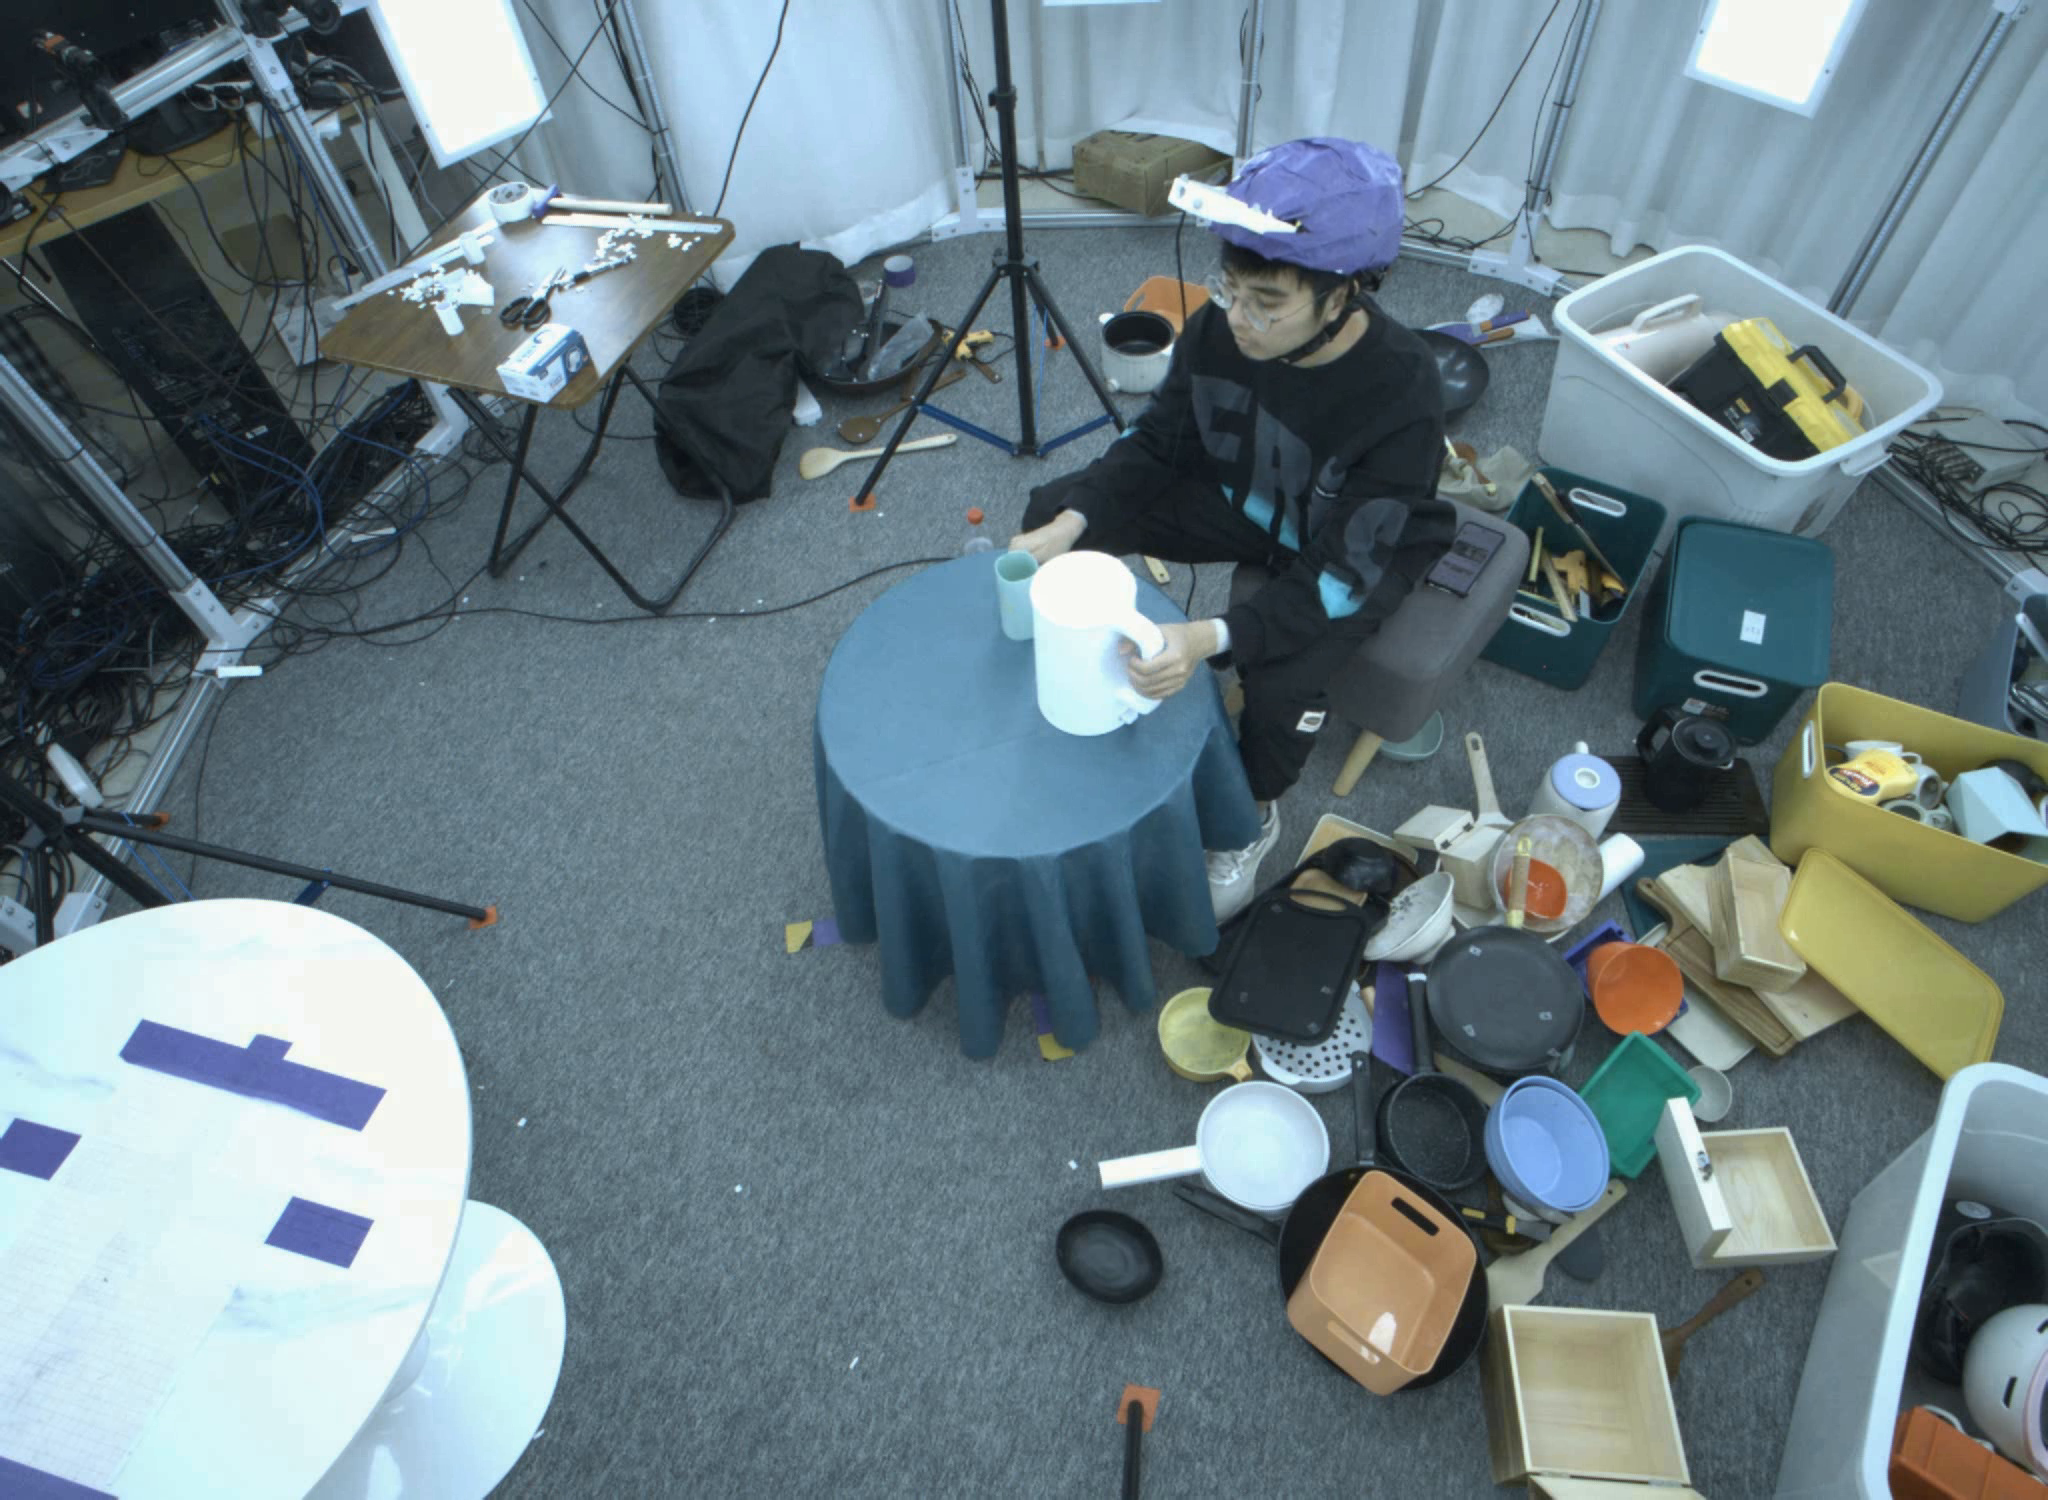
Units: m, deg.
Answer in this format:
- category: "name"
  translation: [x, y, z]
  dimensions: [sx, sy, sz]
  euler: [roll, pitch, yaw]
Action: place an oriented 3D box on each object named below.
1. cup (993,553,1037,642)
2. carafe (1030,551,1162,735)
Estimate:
- category: "cup"
  translation: [-0.008, -0.232, 1.871]
  dimensions: [0.066, 0.134, 0.066]
  euler: [-2, 54, 4]
- category: "carafe"
  translation: [0.104, -0.135, 1.732]
  dimensions: [0.209, 0.243, 0.153]
  euler: [37, 66, 26]
